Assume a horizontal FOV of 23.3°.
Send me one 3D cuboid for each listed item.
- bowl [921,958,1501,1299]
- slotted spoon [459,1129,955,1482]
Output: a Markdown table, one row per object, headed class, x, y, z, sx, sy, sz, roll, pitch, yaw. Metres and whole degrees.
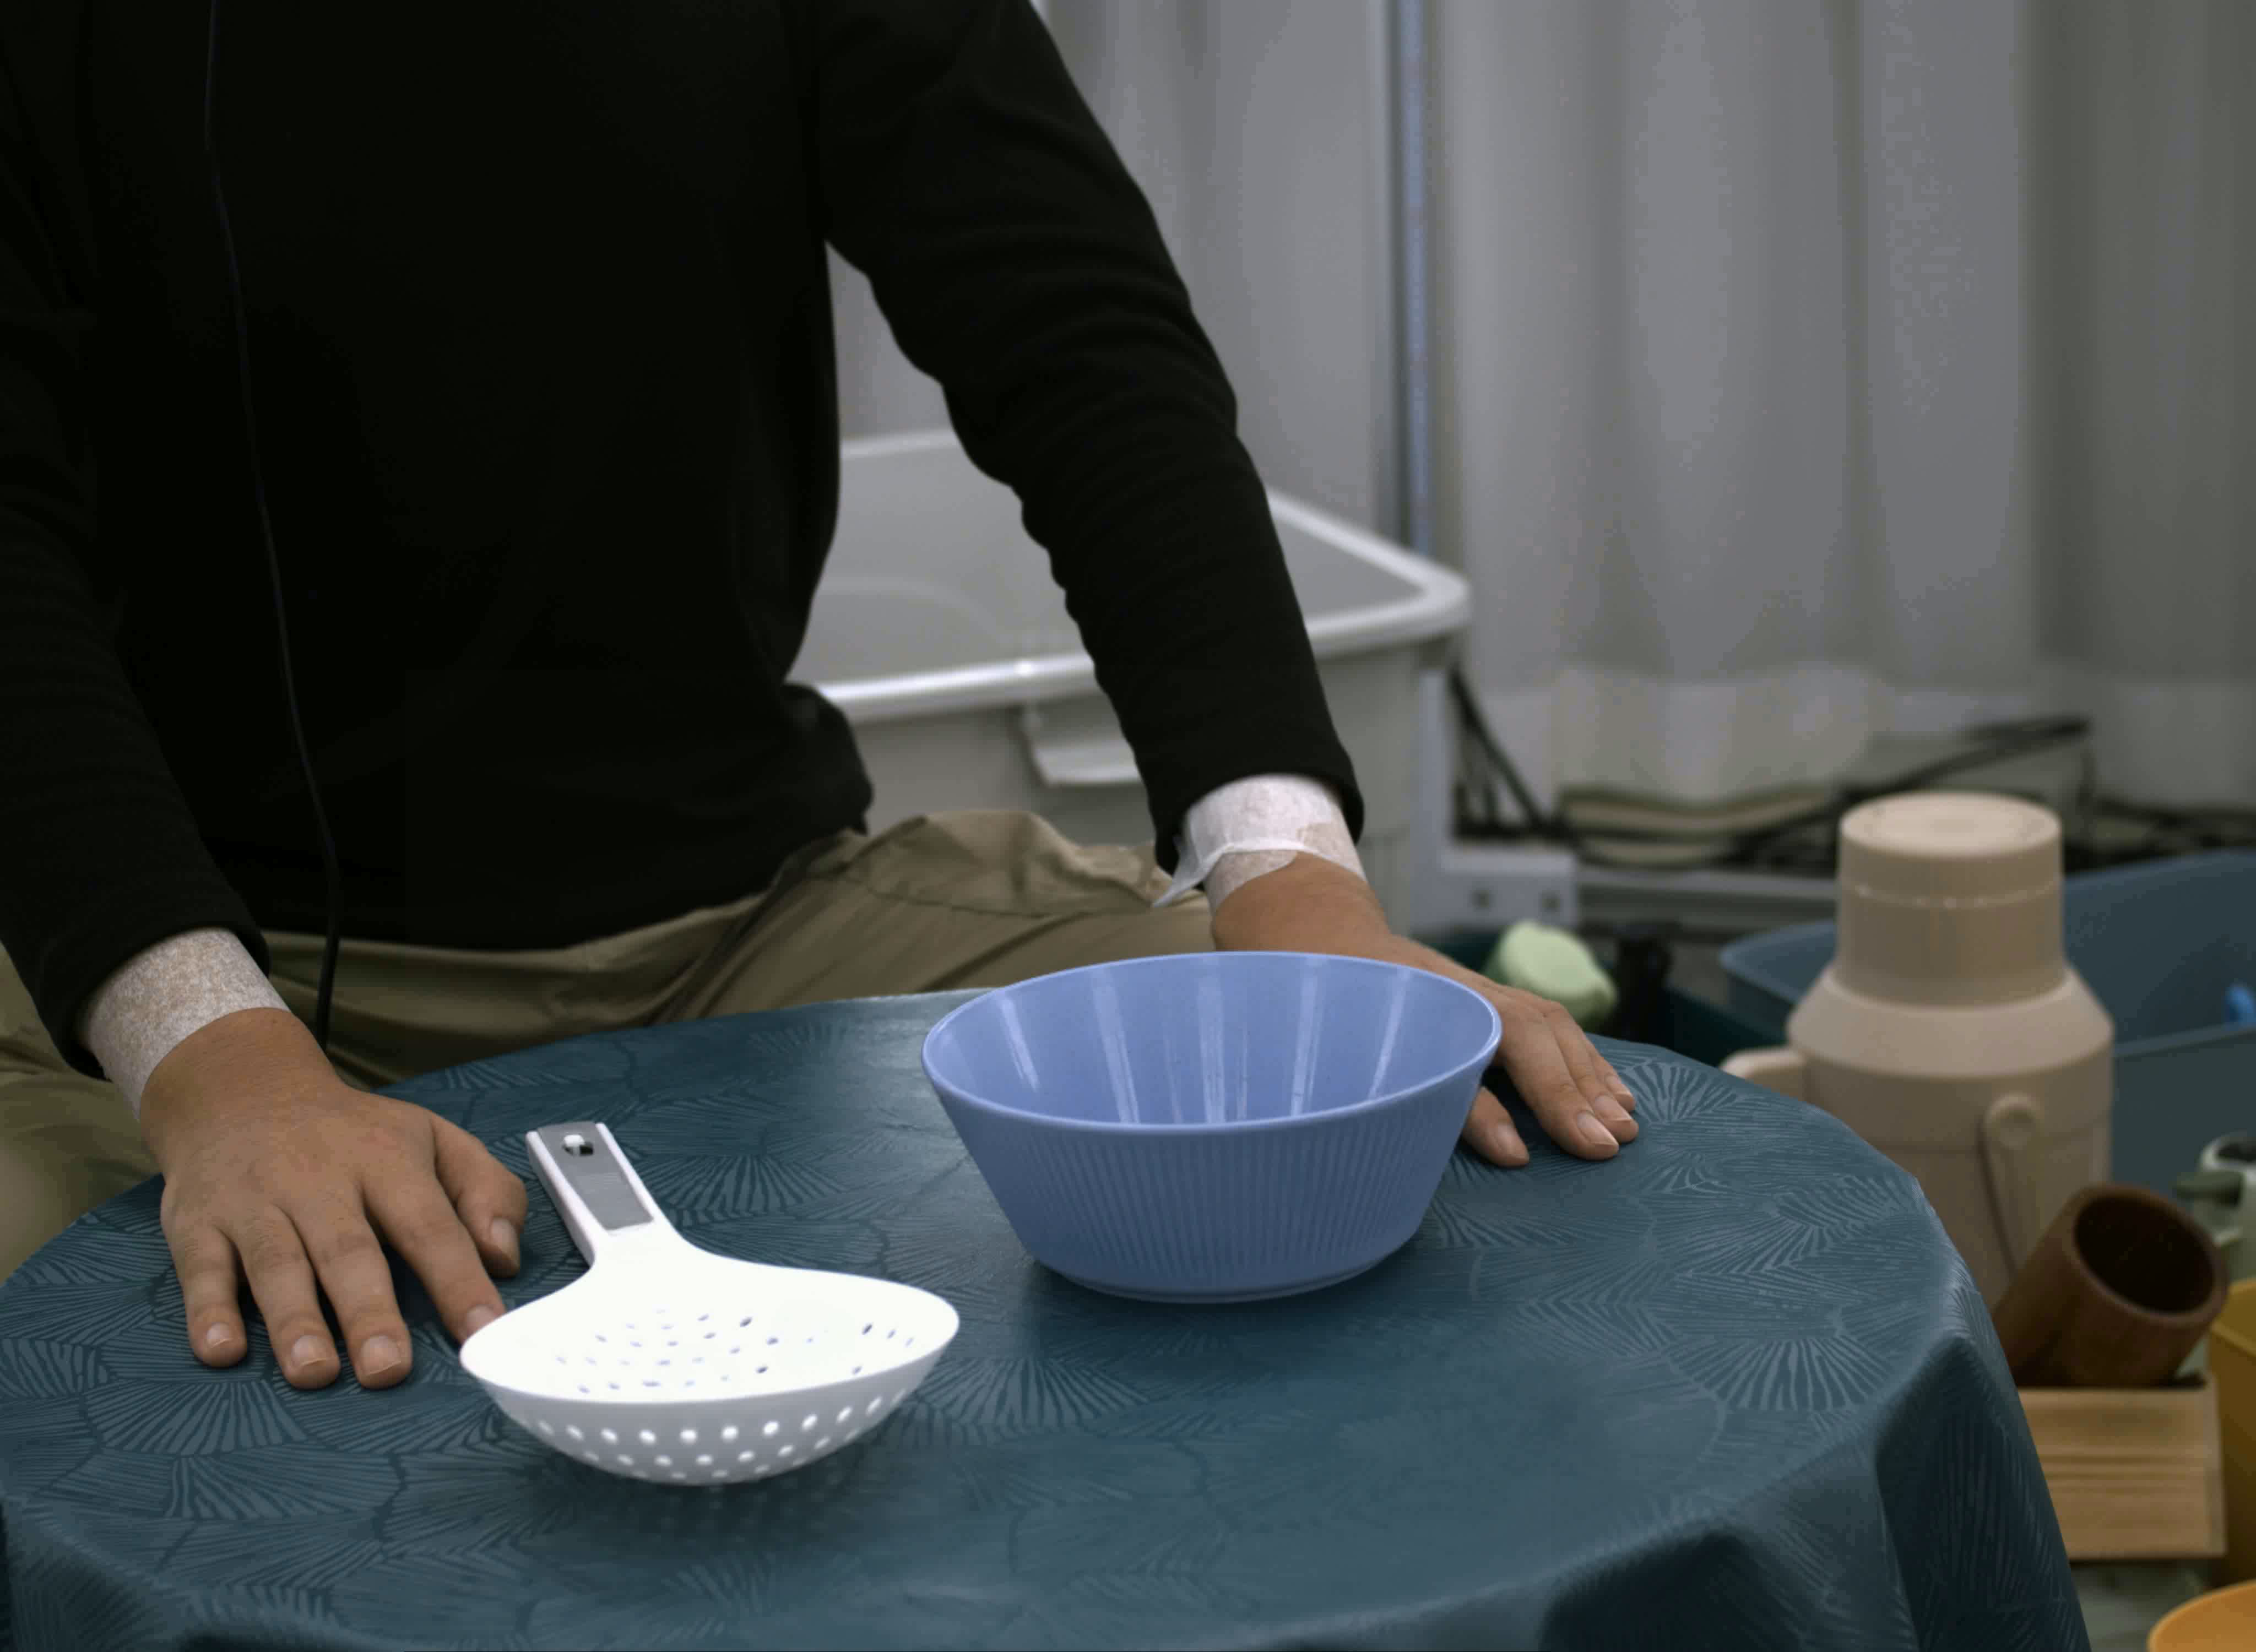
| class | x | y | z | sx | sy | sz | roll | pitch | yaw |
| --- | --- | --- | --- | --- | --- | --- | --- | --- | --- |
| bowl | 0.026 | 0.093 | 1.653 | 0.175 | 0.070 | 0.177 | -3 | 14 | 0 |
| slotted spoon | -0.141 | 0.130 | 1.595 | 0.135 | 0.045 | 0.352 | -6 | 14 | -13 |
